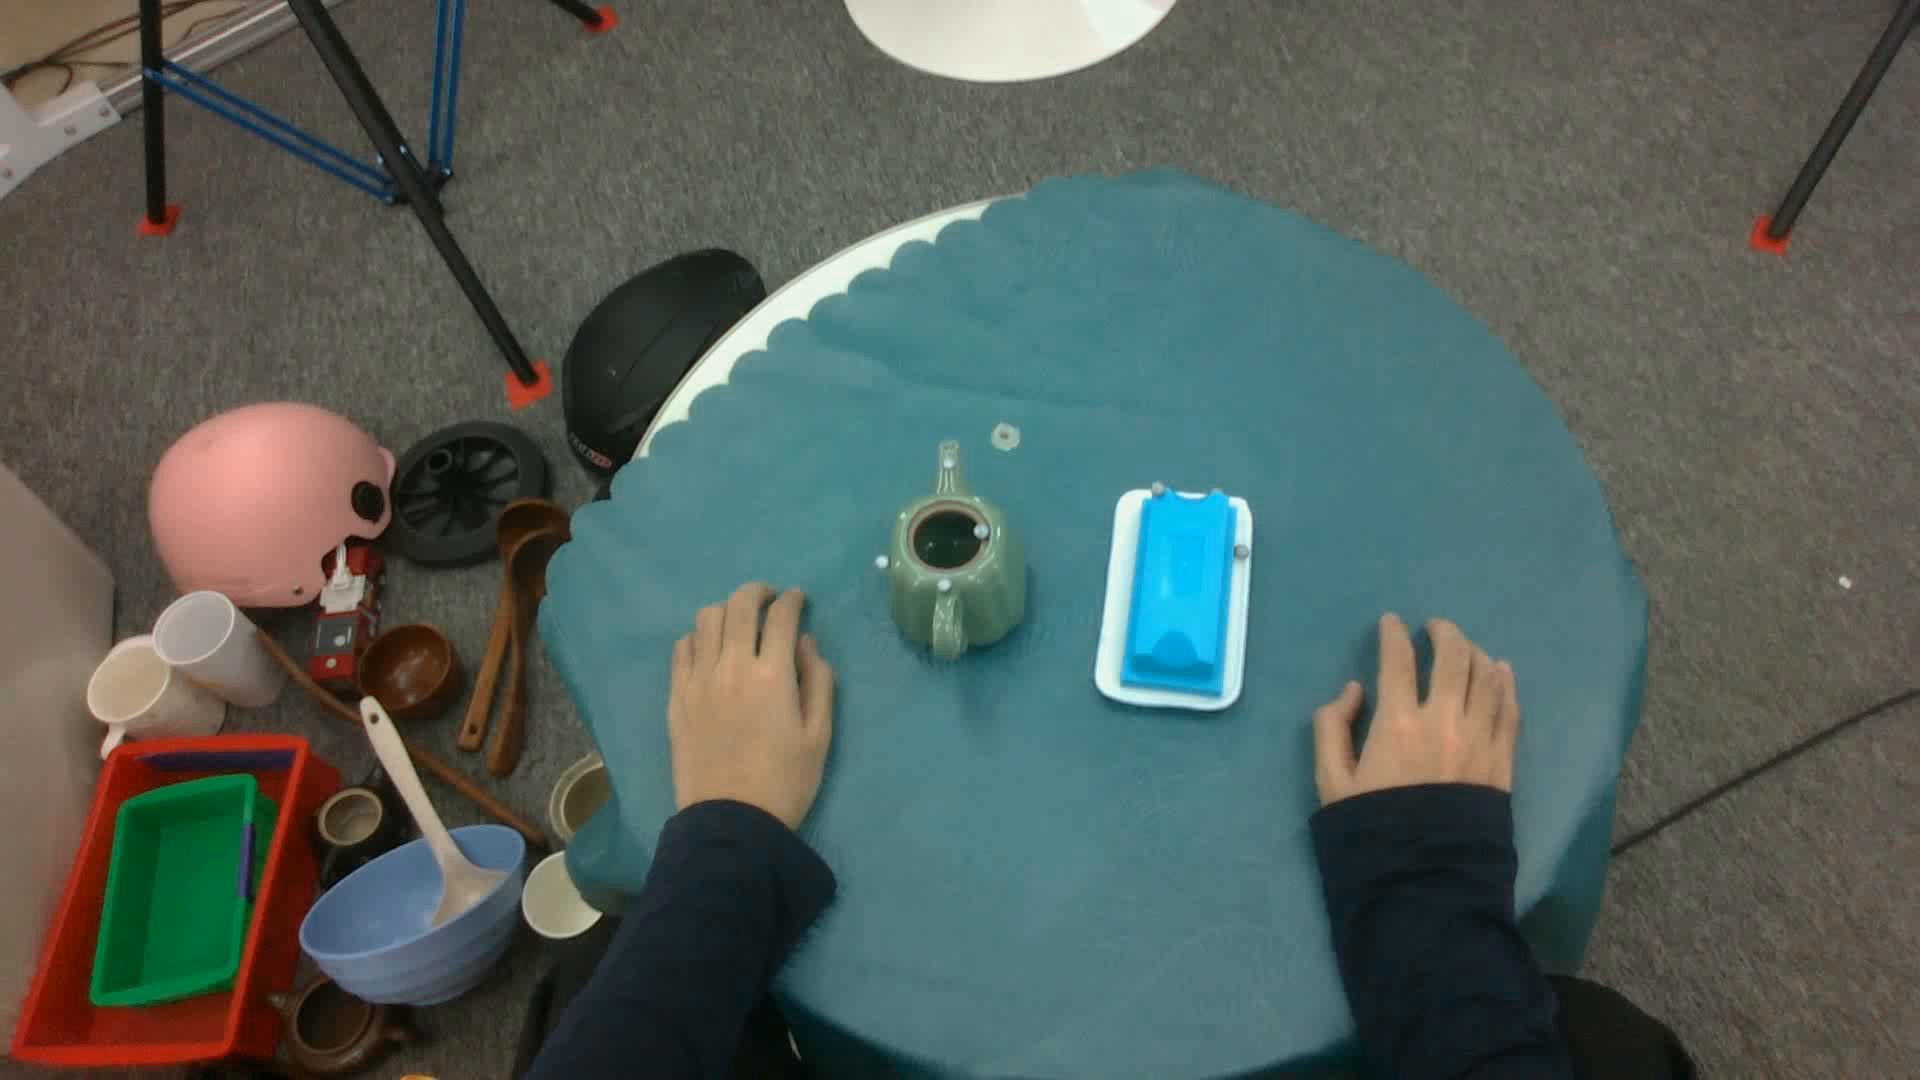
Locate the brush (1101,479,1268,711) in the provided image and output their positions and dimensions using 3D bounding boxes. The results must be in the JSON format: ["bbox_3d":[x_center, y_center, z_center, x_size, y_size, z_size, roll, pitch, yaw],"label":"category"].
[{"bbox_3d":[0.126,0.023,0.768,0.084,0.056,0.144,5,57,14],"label":"brush"}]

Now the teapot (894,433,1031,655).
[{"bbox_3d":[0.000,0.011,0.784,0.079,0.075,0.133,-2,61,6],"label":"teapot"}]
